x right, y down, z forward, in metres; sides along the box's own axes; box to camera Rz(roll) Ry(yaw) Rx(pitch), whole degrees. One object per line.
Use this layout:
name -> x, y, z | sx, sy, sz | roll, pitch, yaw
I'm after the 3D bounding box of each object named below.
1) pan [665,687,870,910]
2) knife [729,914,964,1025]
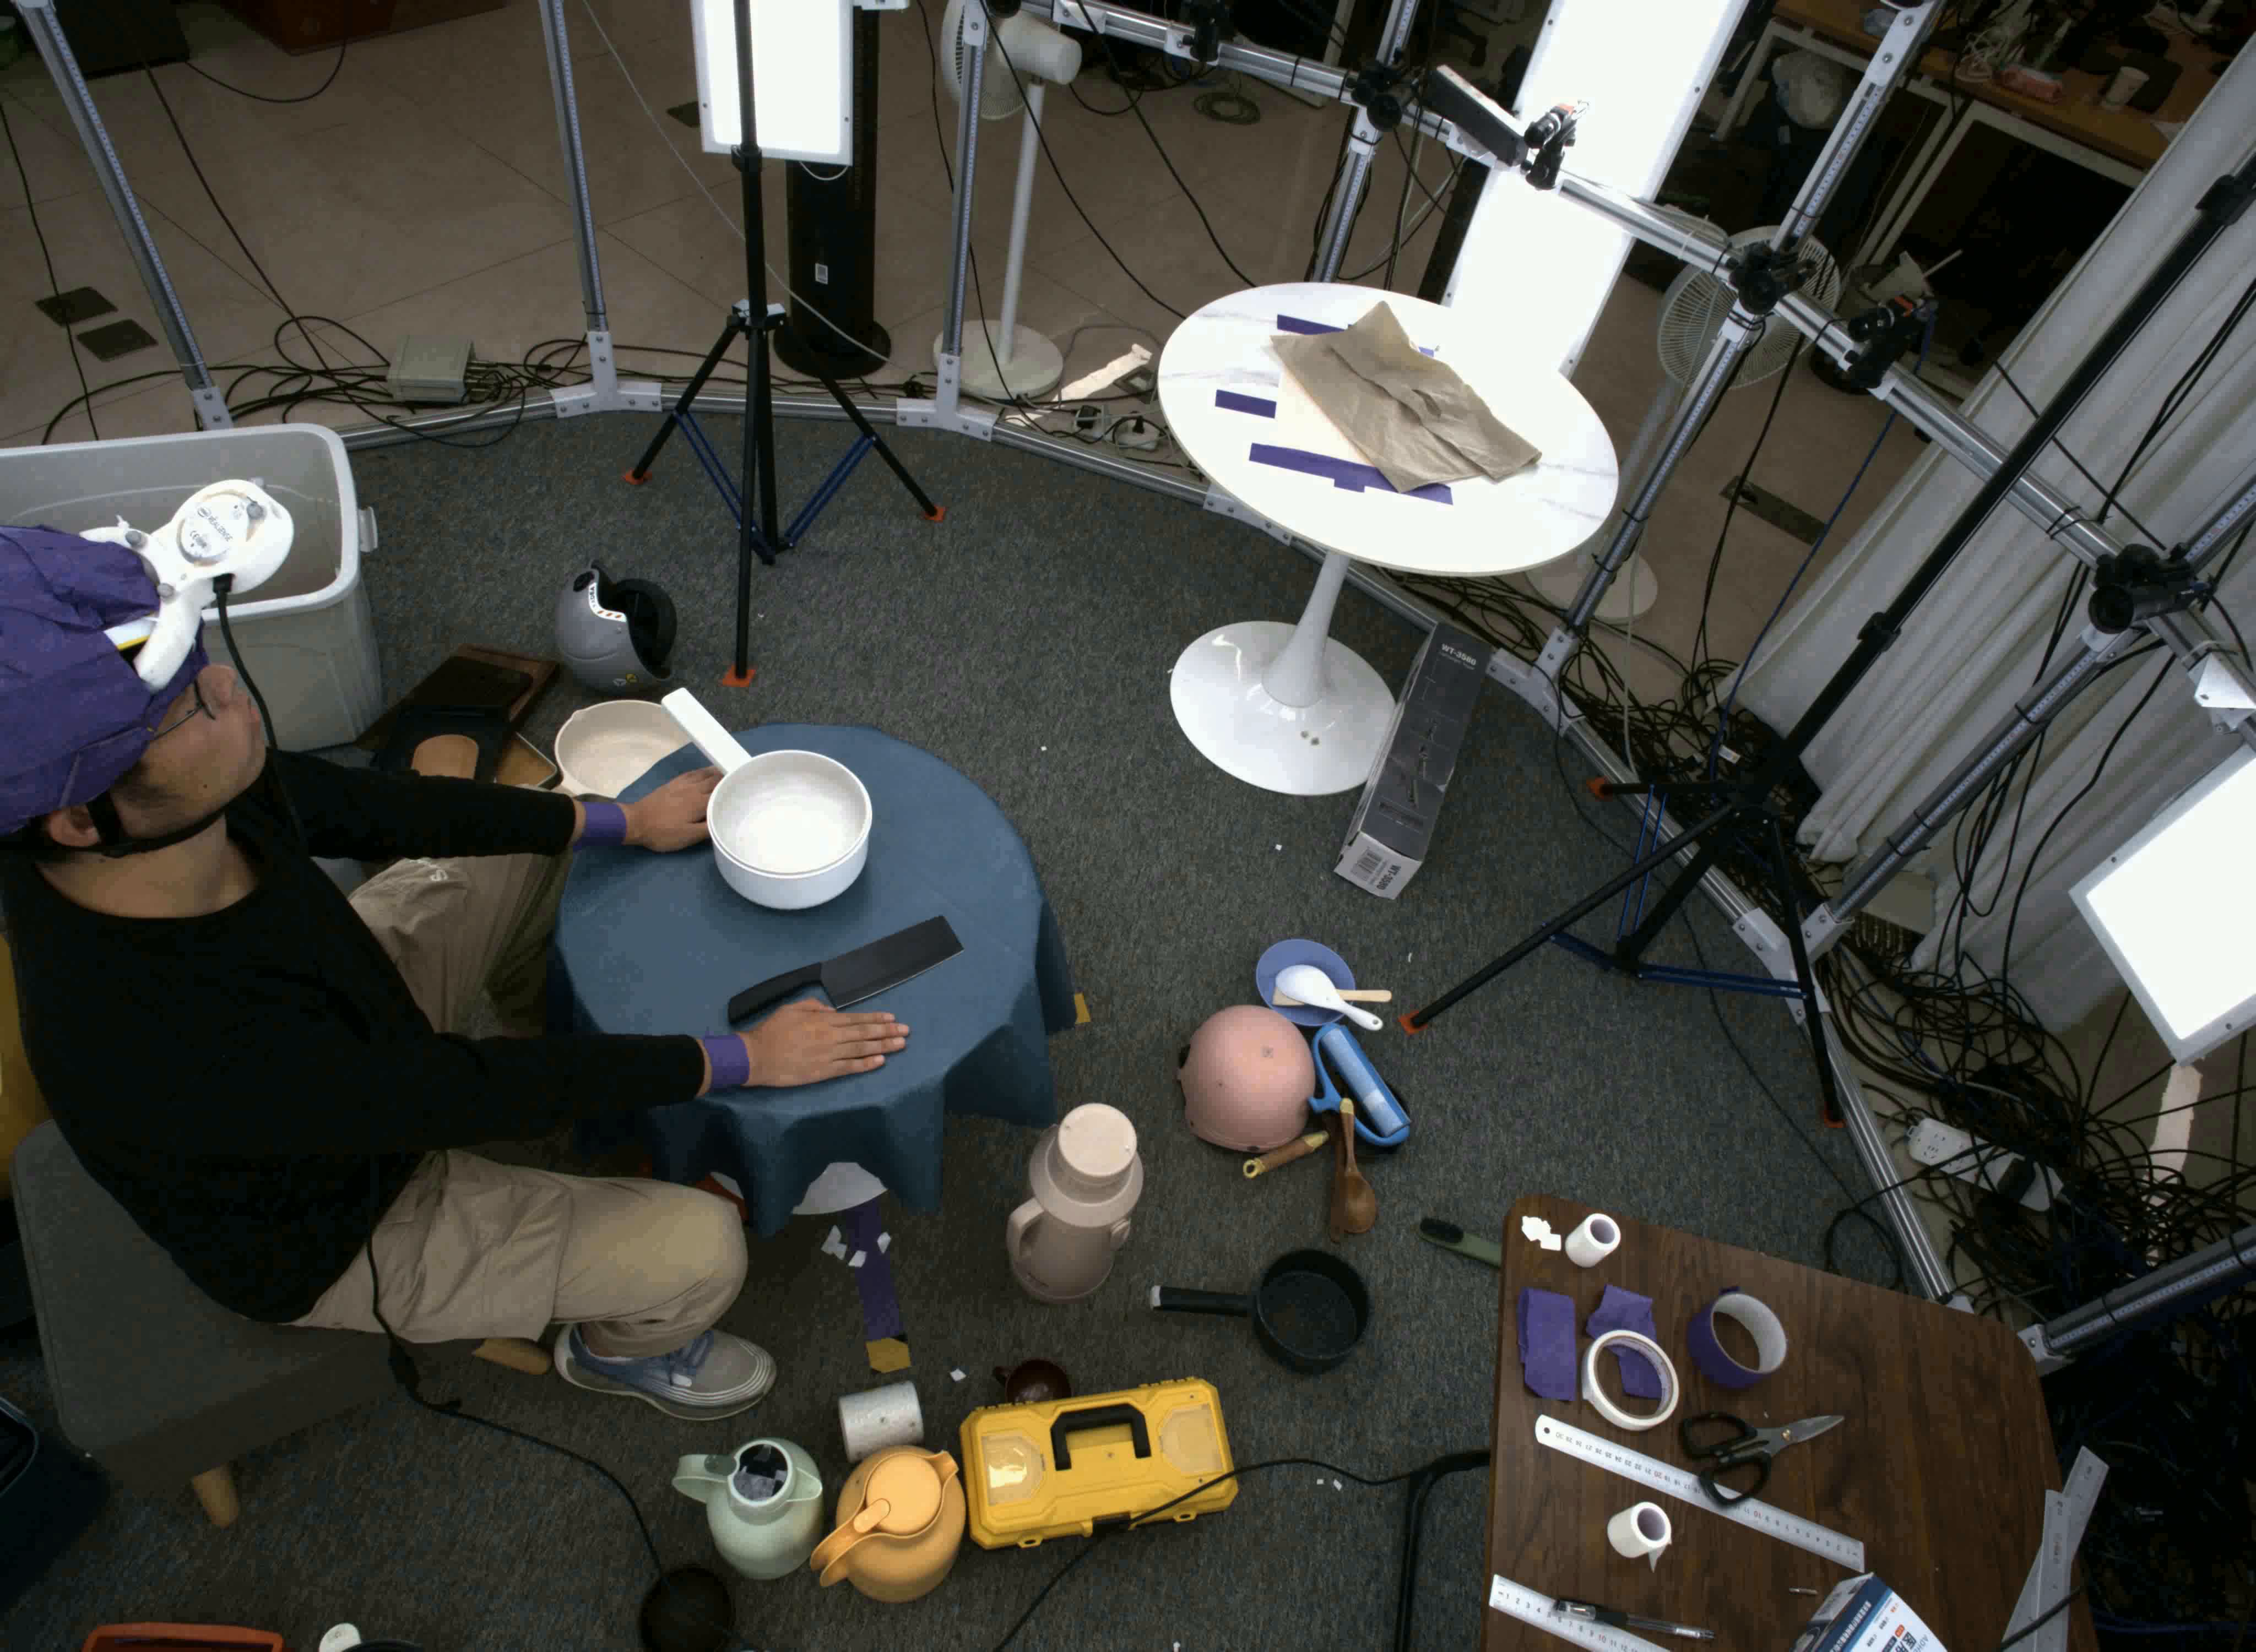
pan -> -0.483, -0.039, 1.673 | 0.346, 0.104, 0.201 | 41, 56, 19
knife -> -0.346, 0.180, 1.598 | 0.304, 0.021, 0.079 | -17, 61, -28
